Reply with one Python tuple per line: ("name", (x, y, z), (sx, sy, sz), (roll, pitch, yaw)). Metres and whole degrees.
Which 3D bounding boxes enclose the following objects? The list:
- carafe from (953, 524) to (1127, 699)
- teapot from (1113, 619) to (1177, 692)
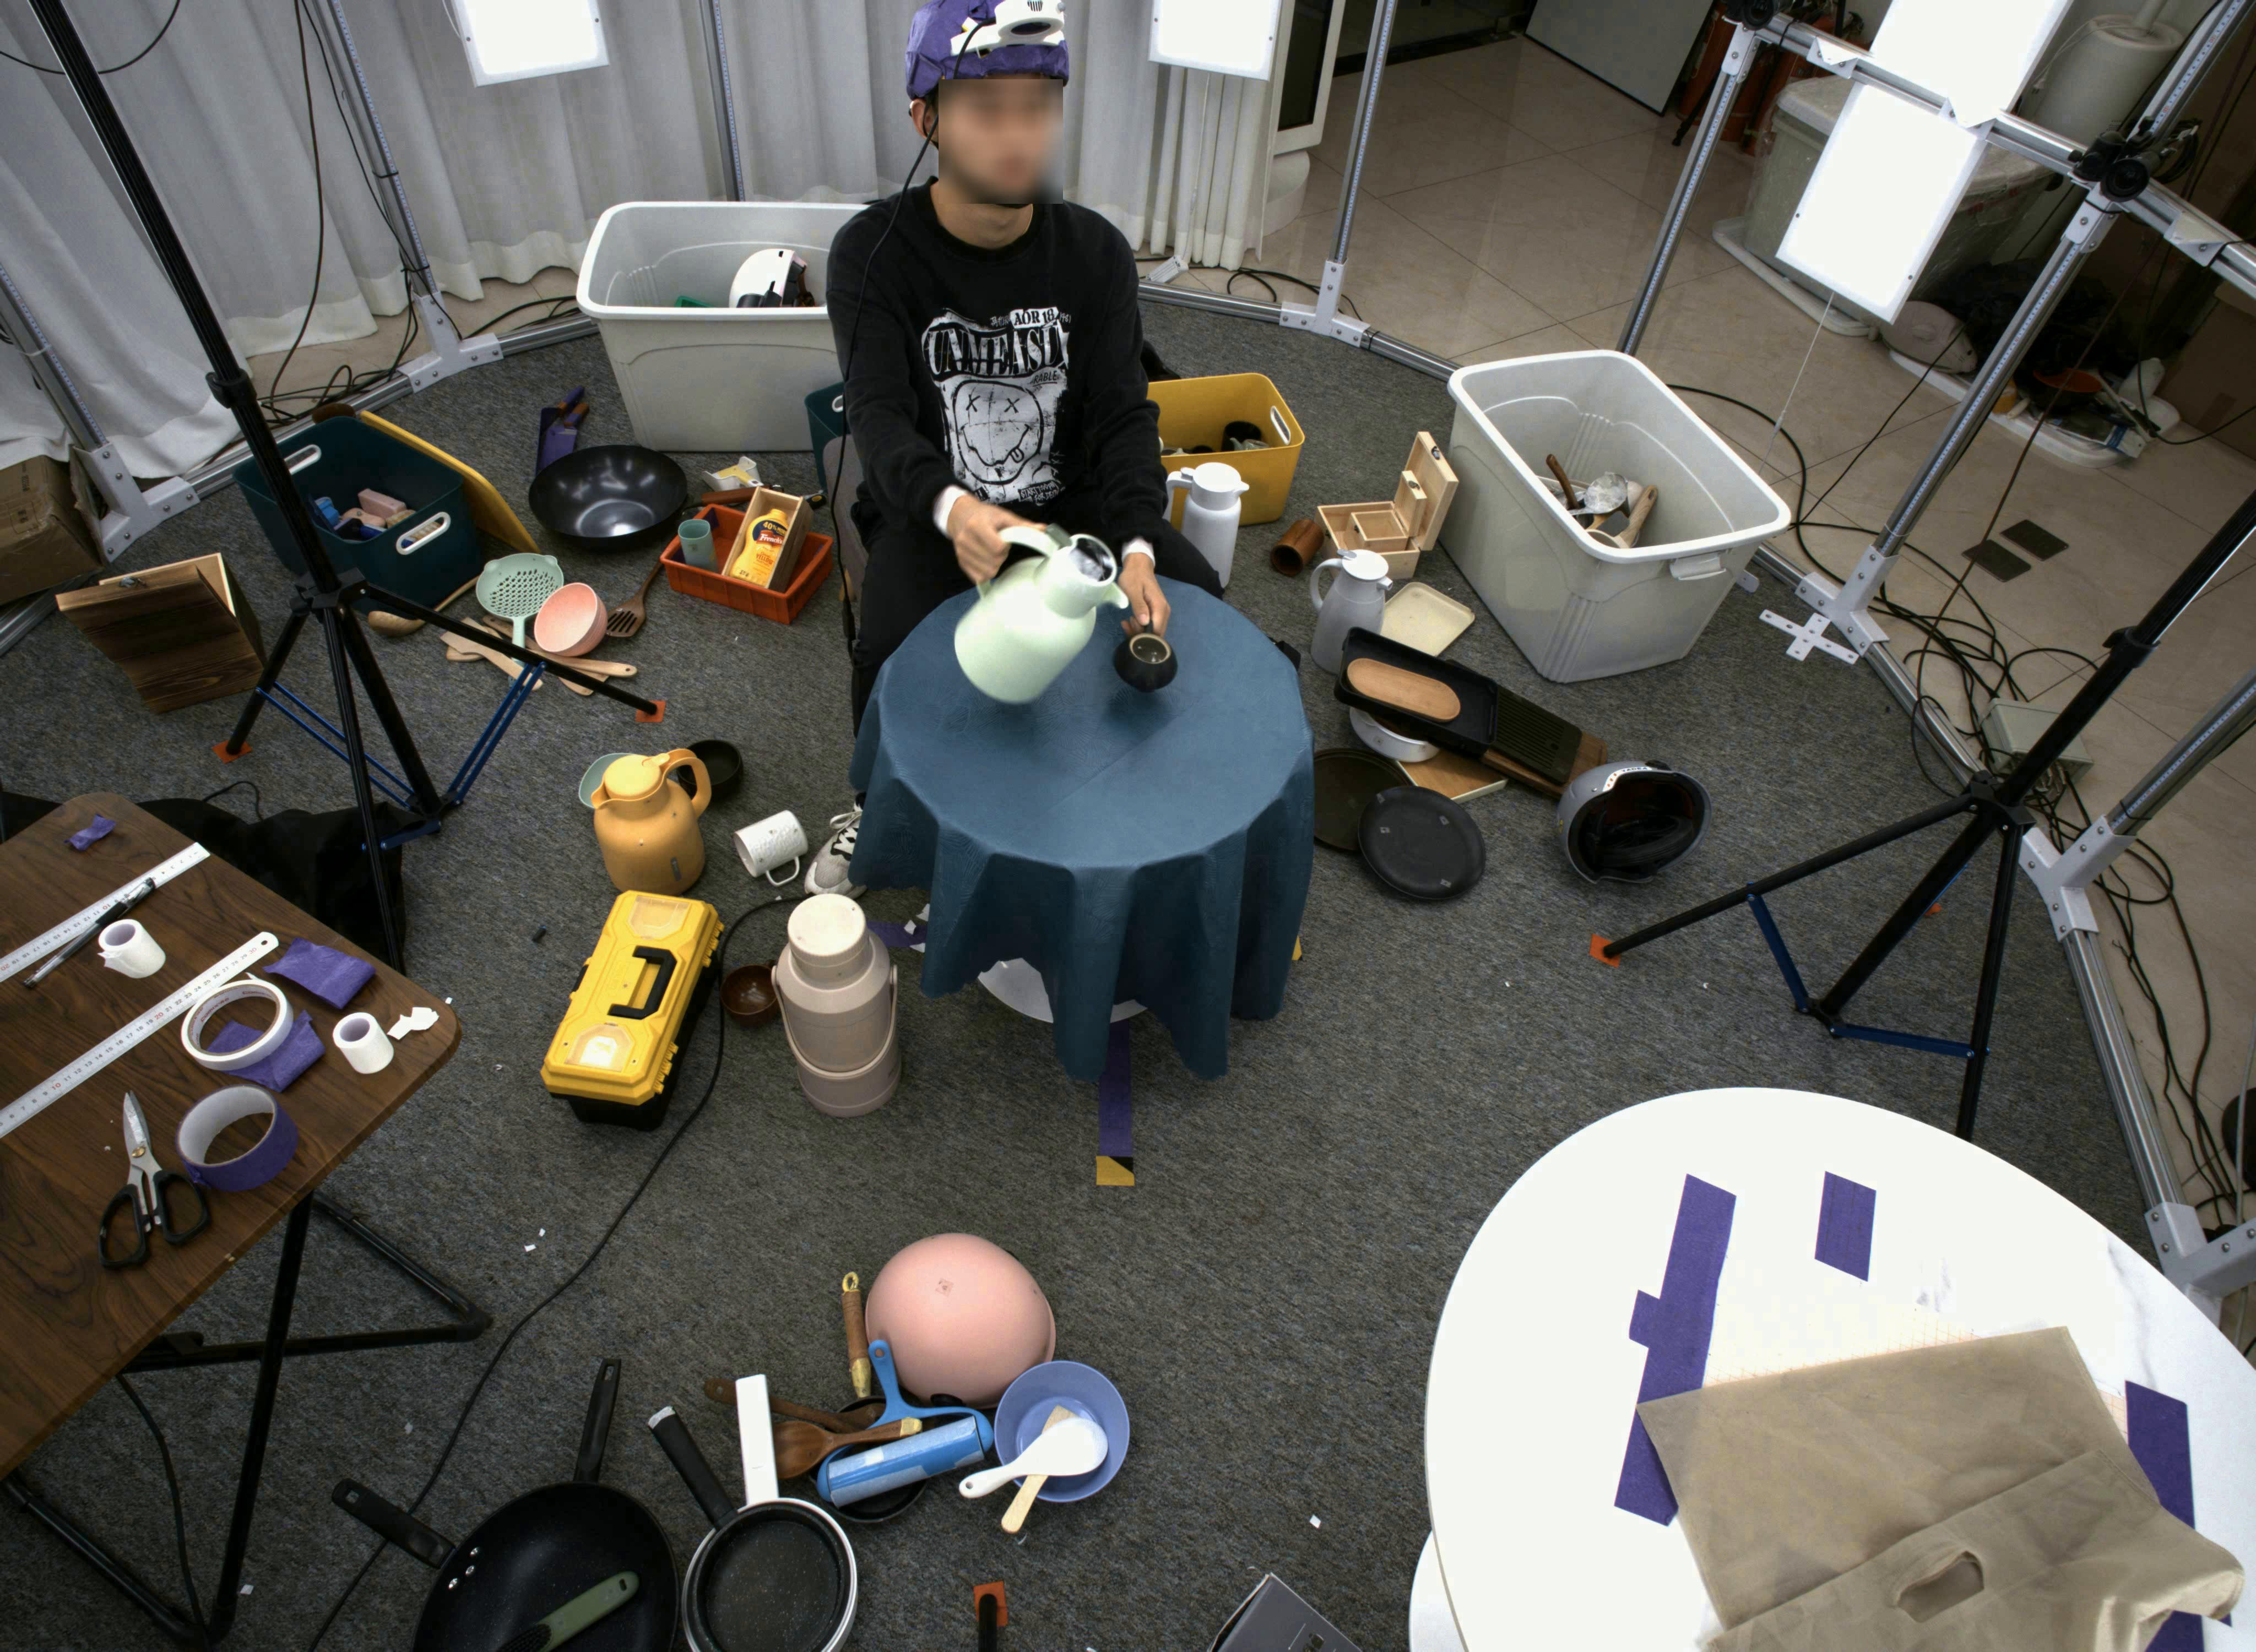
("carafe", (-0.125, -0.288, 1.660), (0.185, 0.253, 0.147), (34, 52, -13))
("teapot", (0.025, -0.231, 1.790), (0.090, 0.052, 0.136), (8, 52, -9))
